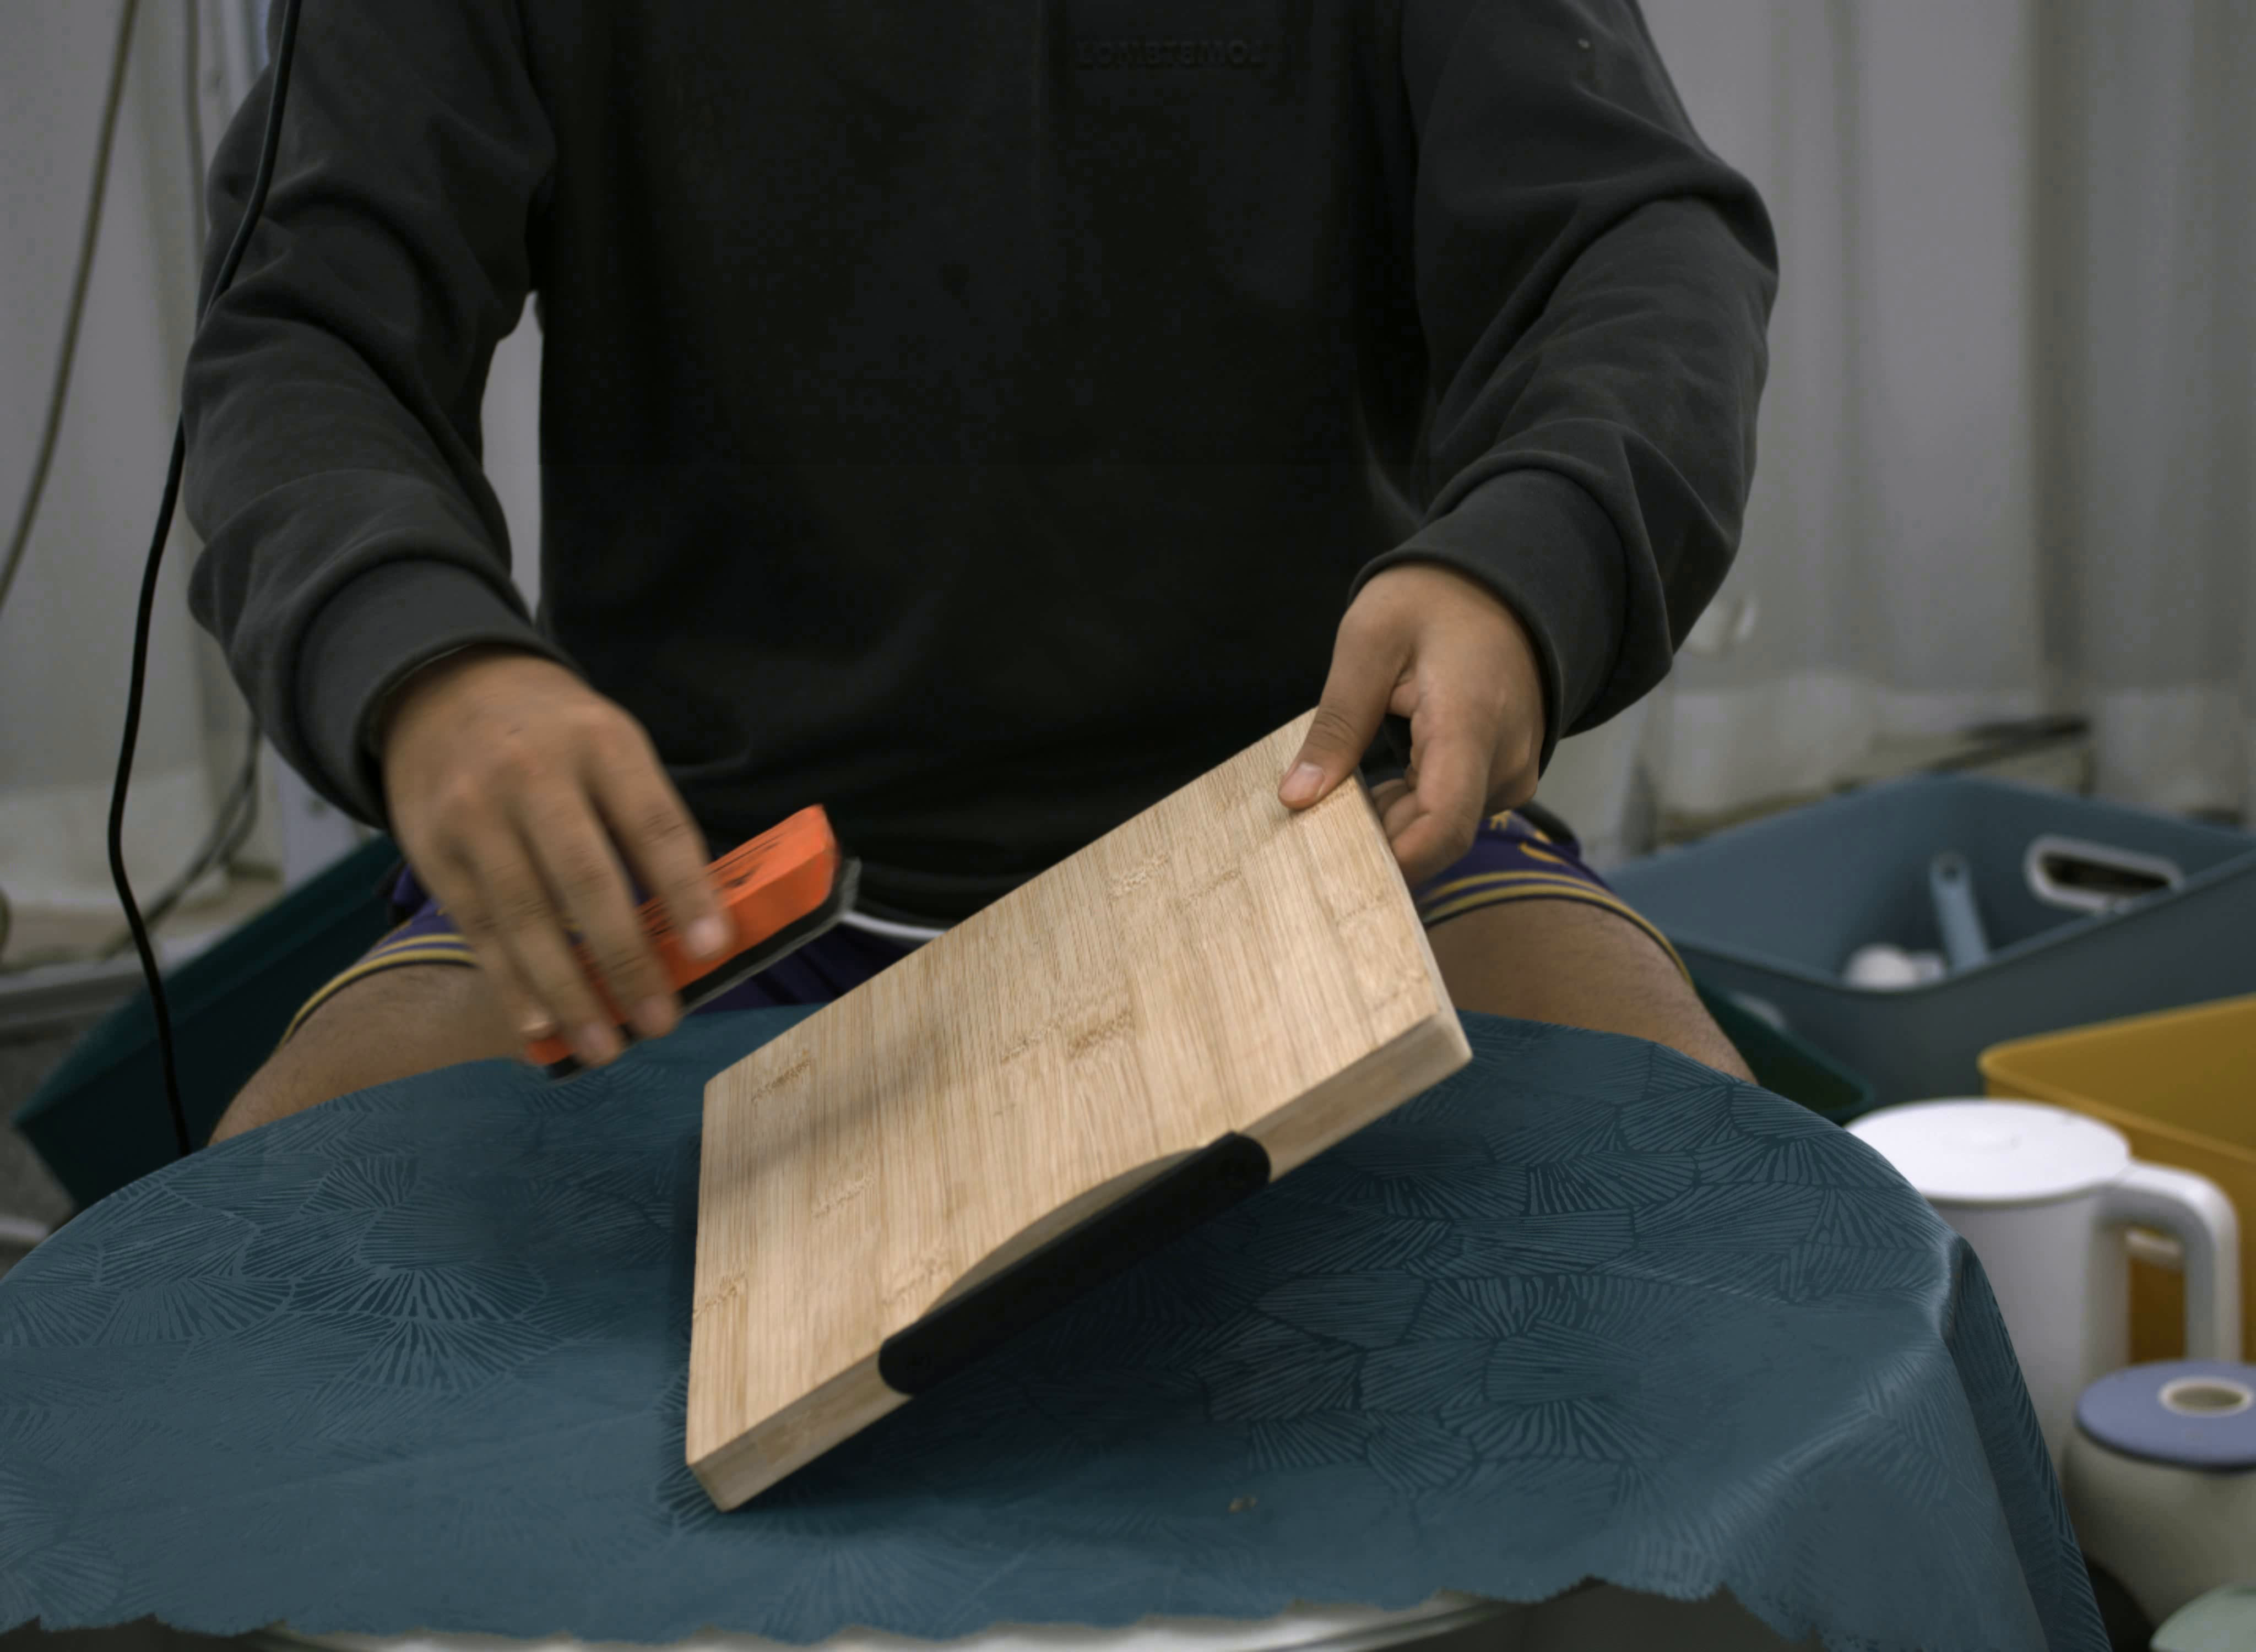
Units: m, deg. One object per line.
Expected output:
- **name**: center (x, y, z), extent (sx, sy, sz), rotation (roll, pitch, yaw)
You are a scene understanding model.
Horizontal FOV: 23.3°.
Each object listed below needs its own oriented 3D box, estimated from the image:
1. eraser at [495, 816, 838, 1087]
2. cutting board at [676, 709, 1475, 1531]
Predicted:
- **eraser**: center (-0.140, 0.038, 1.665), extent (0.108, 0.023, 0.059), rotation (-29, 15, 12)
- **cutting board**: center (-0.023, 0.076, 1.617), extent (0.250, 0.023, 0.351), rotation (-32, 14, 4)
